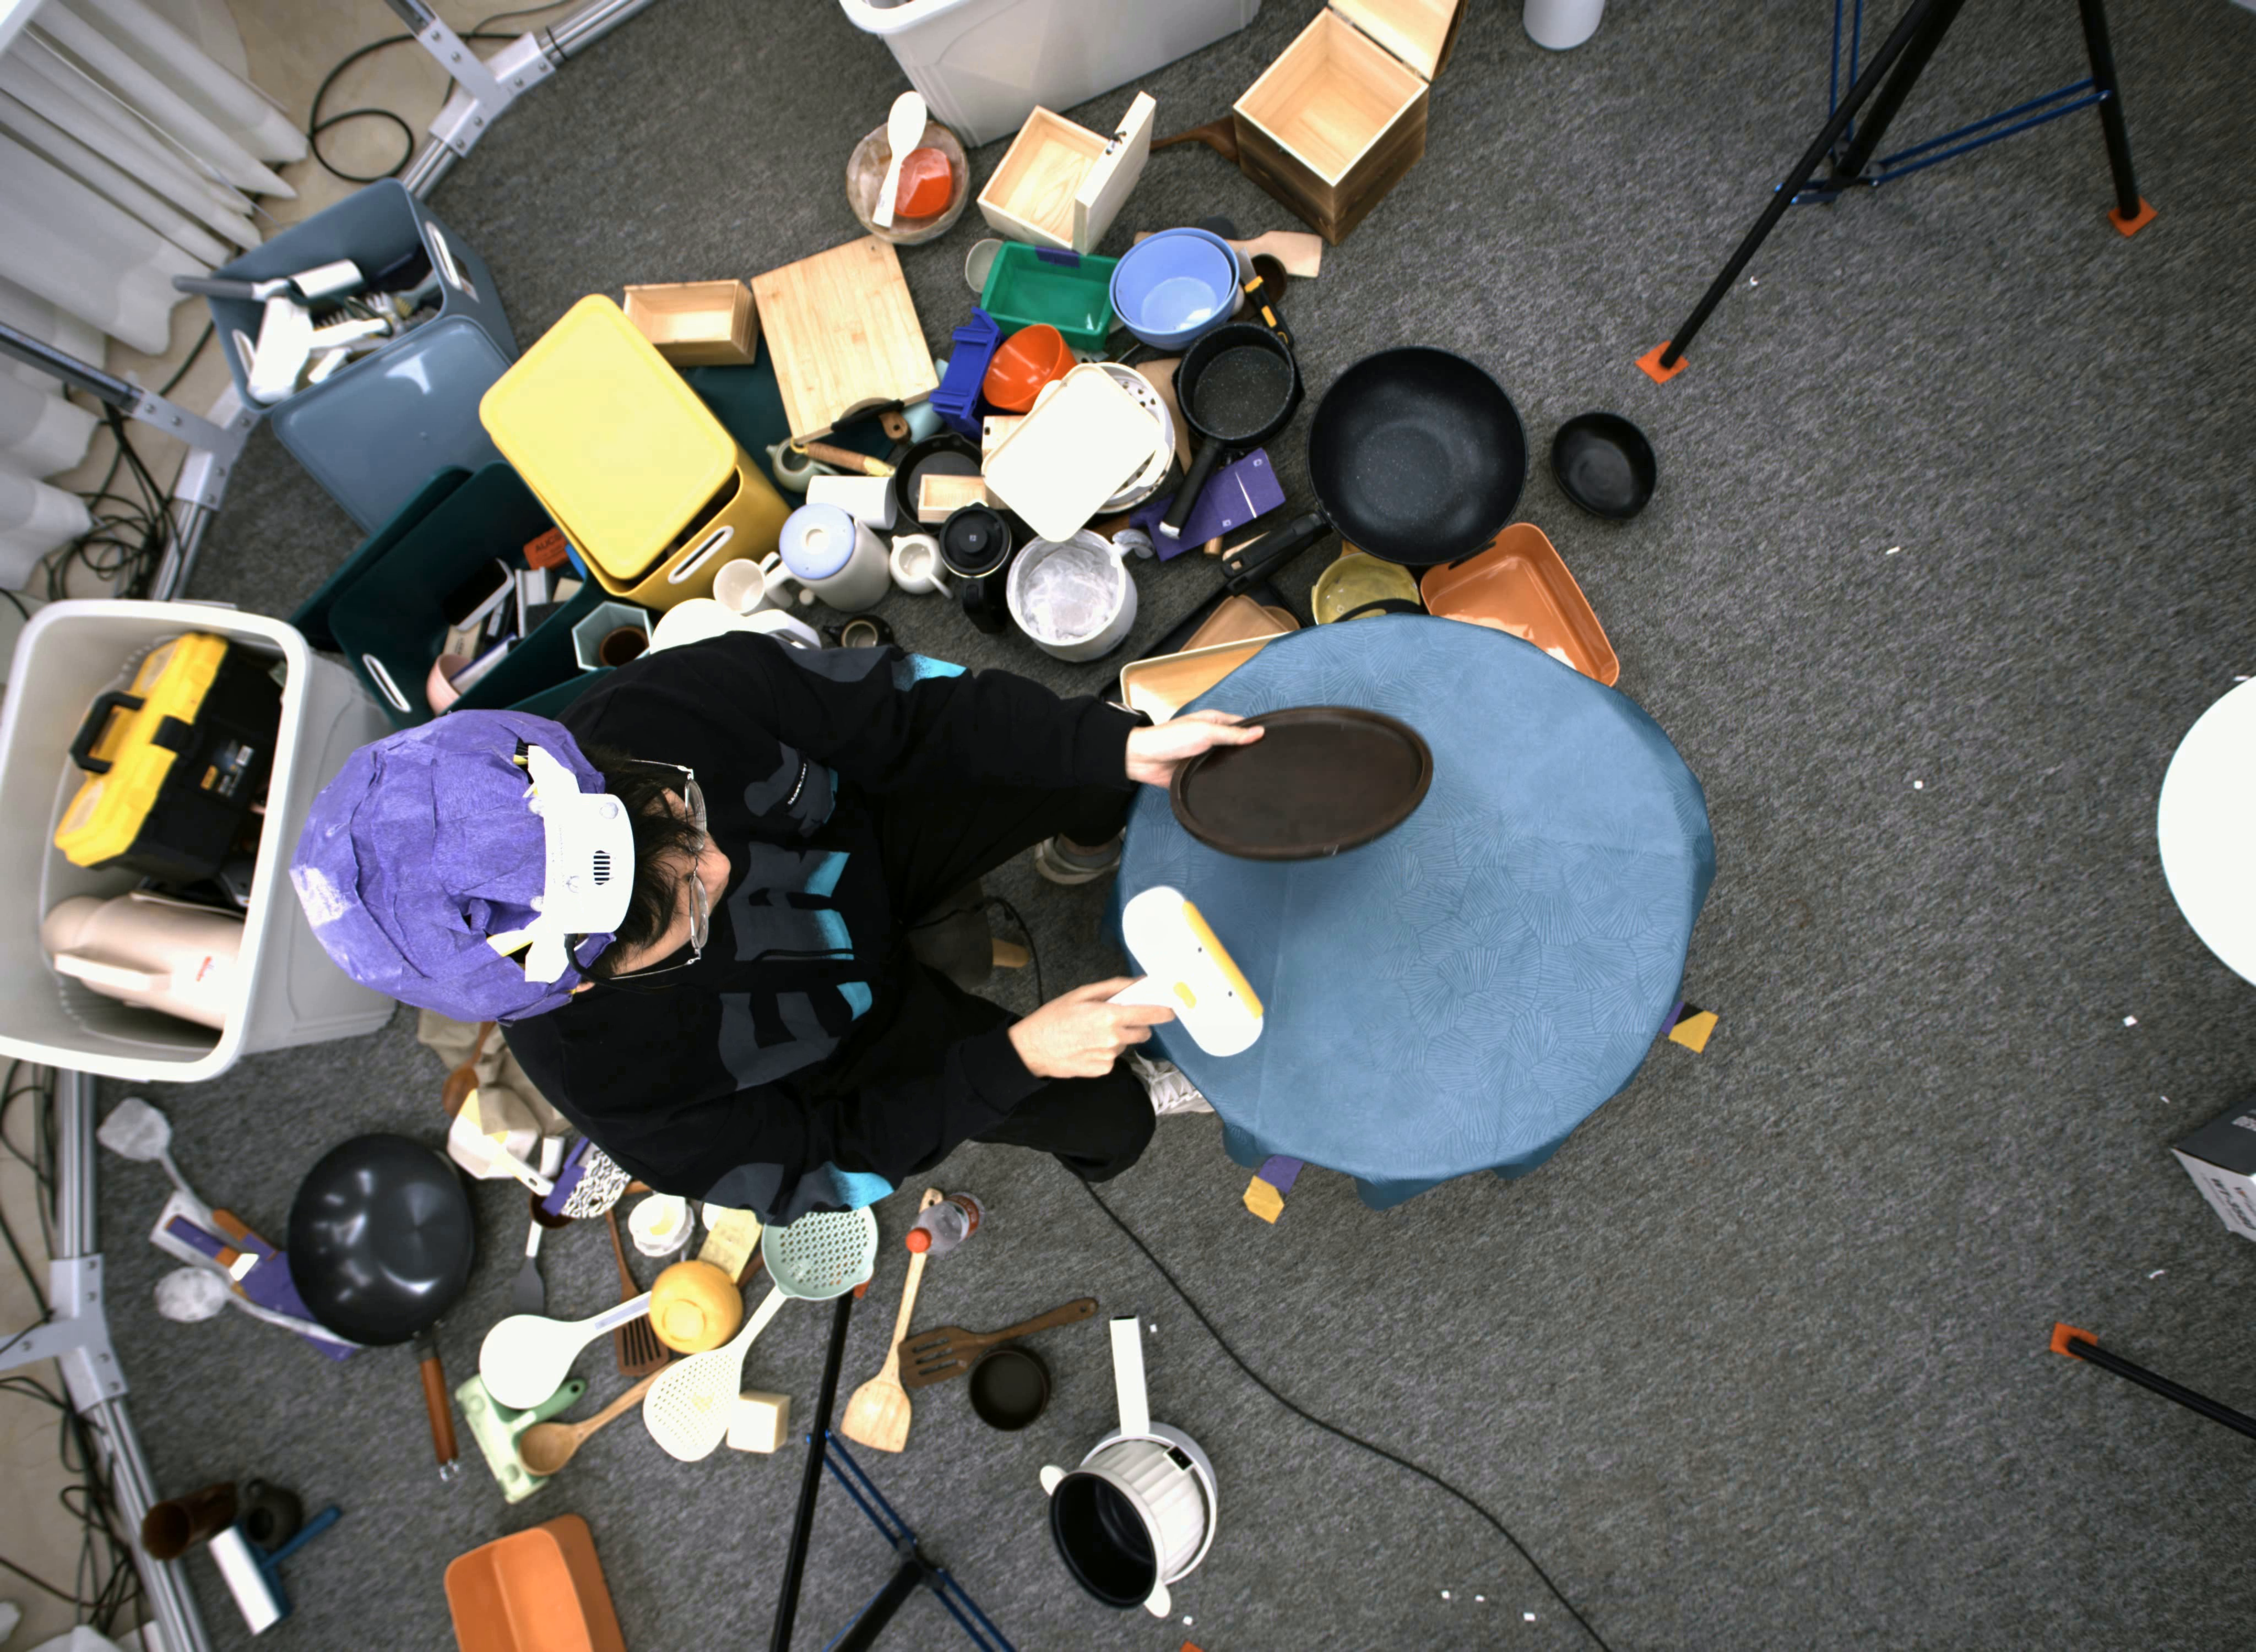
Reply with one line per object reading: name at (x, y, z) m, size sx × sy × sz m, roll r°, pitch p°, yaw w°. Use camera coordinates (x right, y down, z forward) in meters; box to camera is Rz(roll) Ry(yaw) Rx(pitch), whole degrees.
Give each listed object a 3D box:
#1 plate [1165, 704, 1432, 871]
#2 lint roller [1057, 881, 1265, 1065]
plate at (0.161, -0.039, 1.314) m, size 0.256 × 0.248 × 0.029 m, roll -7°, pitch 126°, yaw 9°
lint roller at (0.013, 0.168, 1.356) m, size 0.195 × 0.072 × 0.195 m, roll -31°, pitch 115°, yaw 22°
